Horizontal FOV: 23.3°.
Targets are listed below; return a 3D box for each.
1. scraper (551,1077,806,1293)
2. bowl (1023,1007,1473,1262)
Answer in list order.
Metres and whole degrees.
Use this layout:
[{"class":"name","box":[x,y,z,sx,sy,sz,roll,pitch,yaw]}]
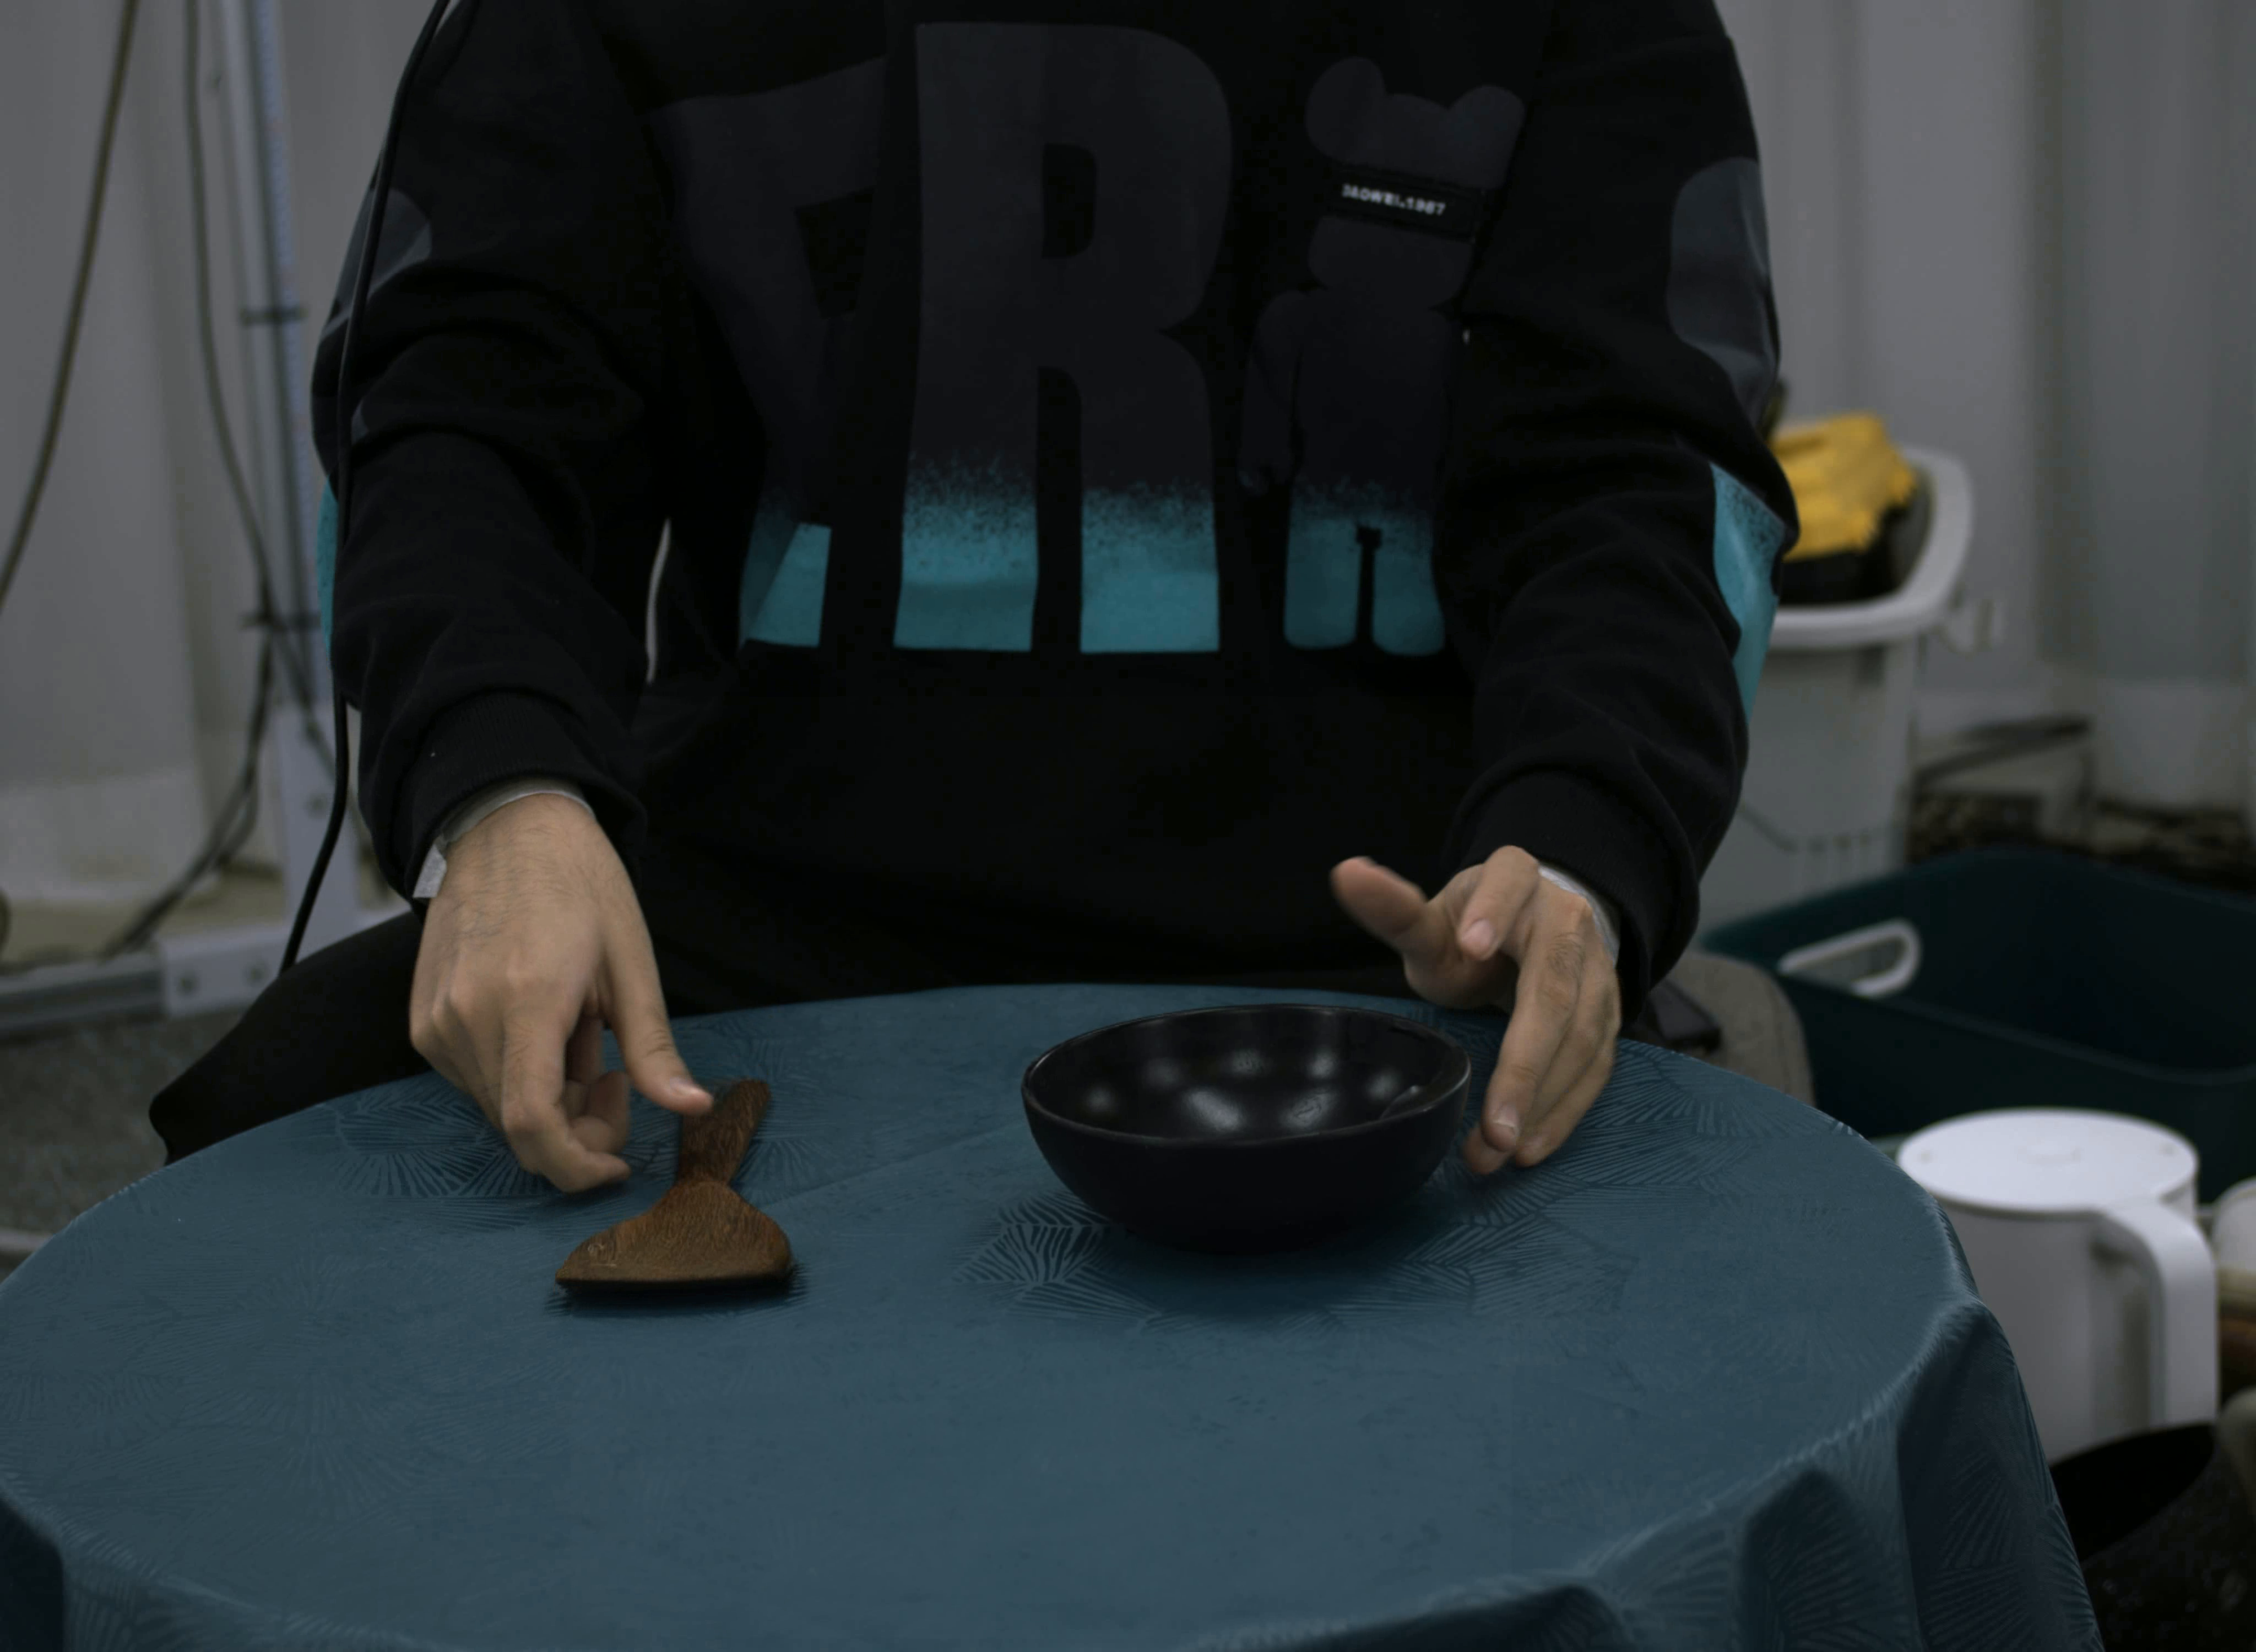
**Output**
[{"class":"scraper","box":[-0.134,0.113,1.729,0.075,0.011,0.212,-1,15,1]},{"class":"bowl","box":[0.039,0.099,1.675,0.139,0.049,0.141,-5,14,1]}]
